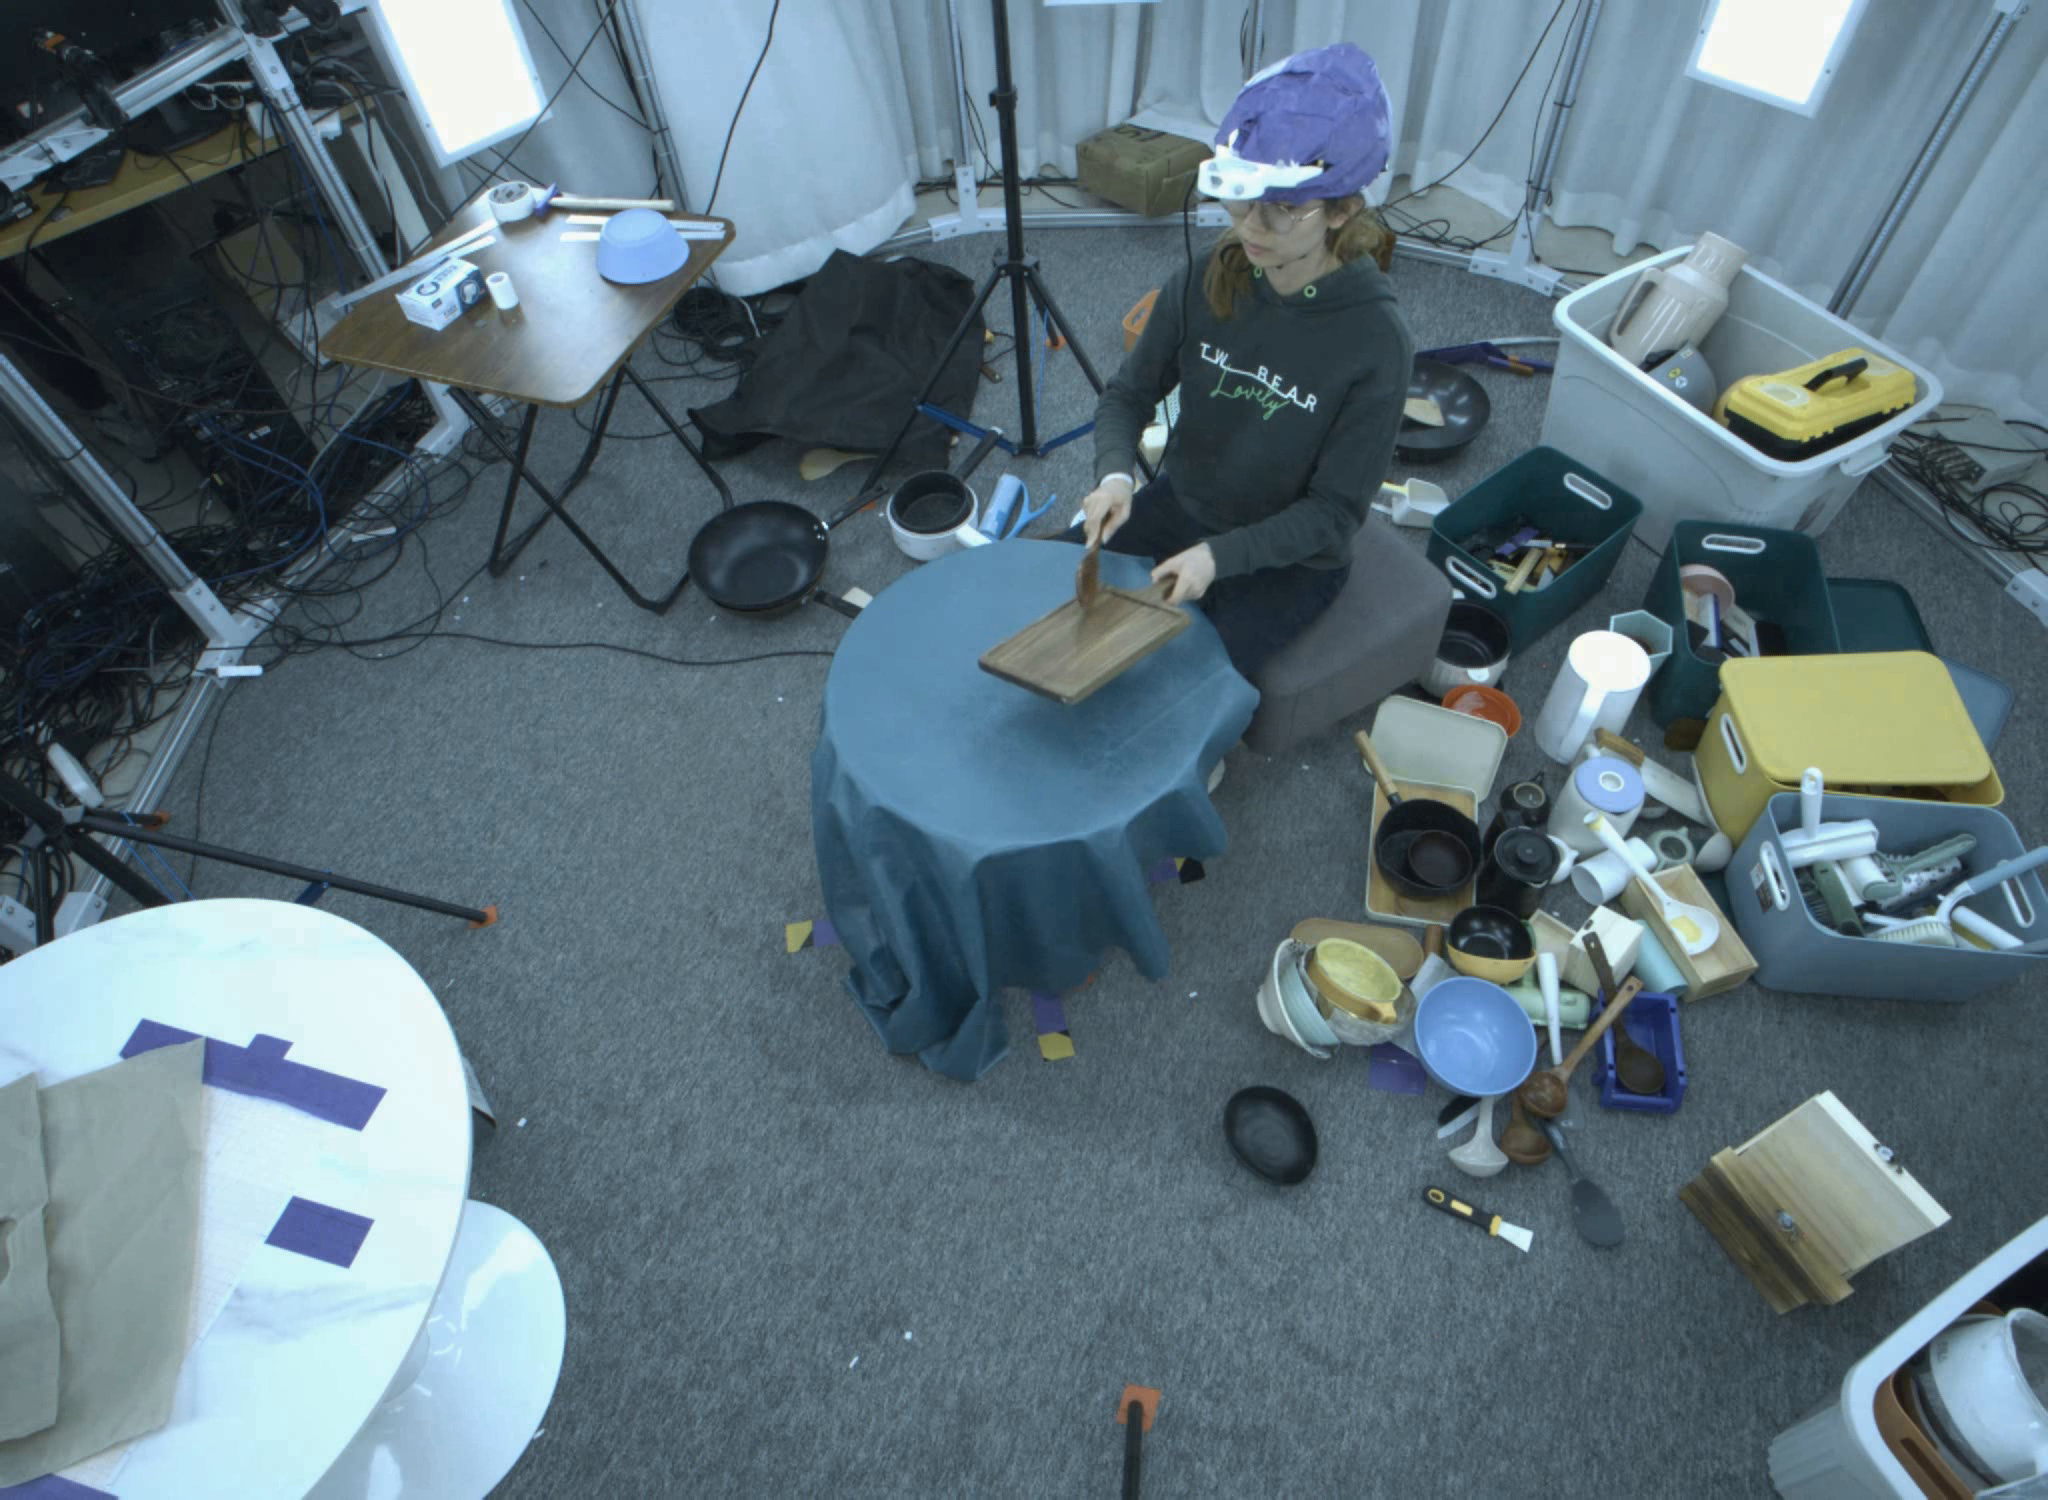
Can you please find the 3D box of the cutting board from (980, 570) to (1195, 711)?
[{"bbox_3d":[0.125,-0.174,1.774,0.355,0.023,0.196,-35,40,-29],"label":"cutting board"}]

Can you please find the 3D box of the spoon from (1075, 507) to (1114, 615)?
[{"bbox_3d":[0.106,-0.289,1.838,0.017,0.077,0.215,-1,50,24],"label":"spoon"}]
